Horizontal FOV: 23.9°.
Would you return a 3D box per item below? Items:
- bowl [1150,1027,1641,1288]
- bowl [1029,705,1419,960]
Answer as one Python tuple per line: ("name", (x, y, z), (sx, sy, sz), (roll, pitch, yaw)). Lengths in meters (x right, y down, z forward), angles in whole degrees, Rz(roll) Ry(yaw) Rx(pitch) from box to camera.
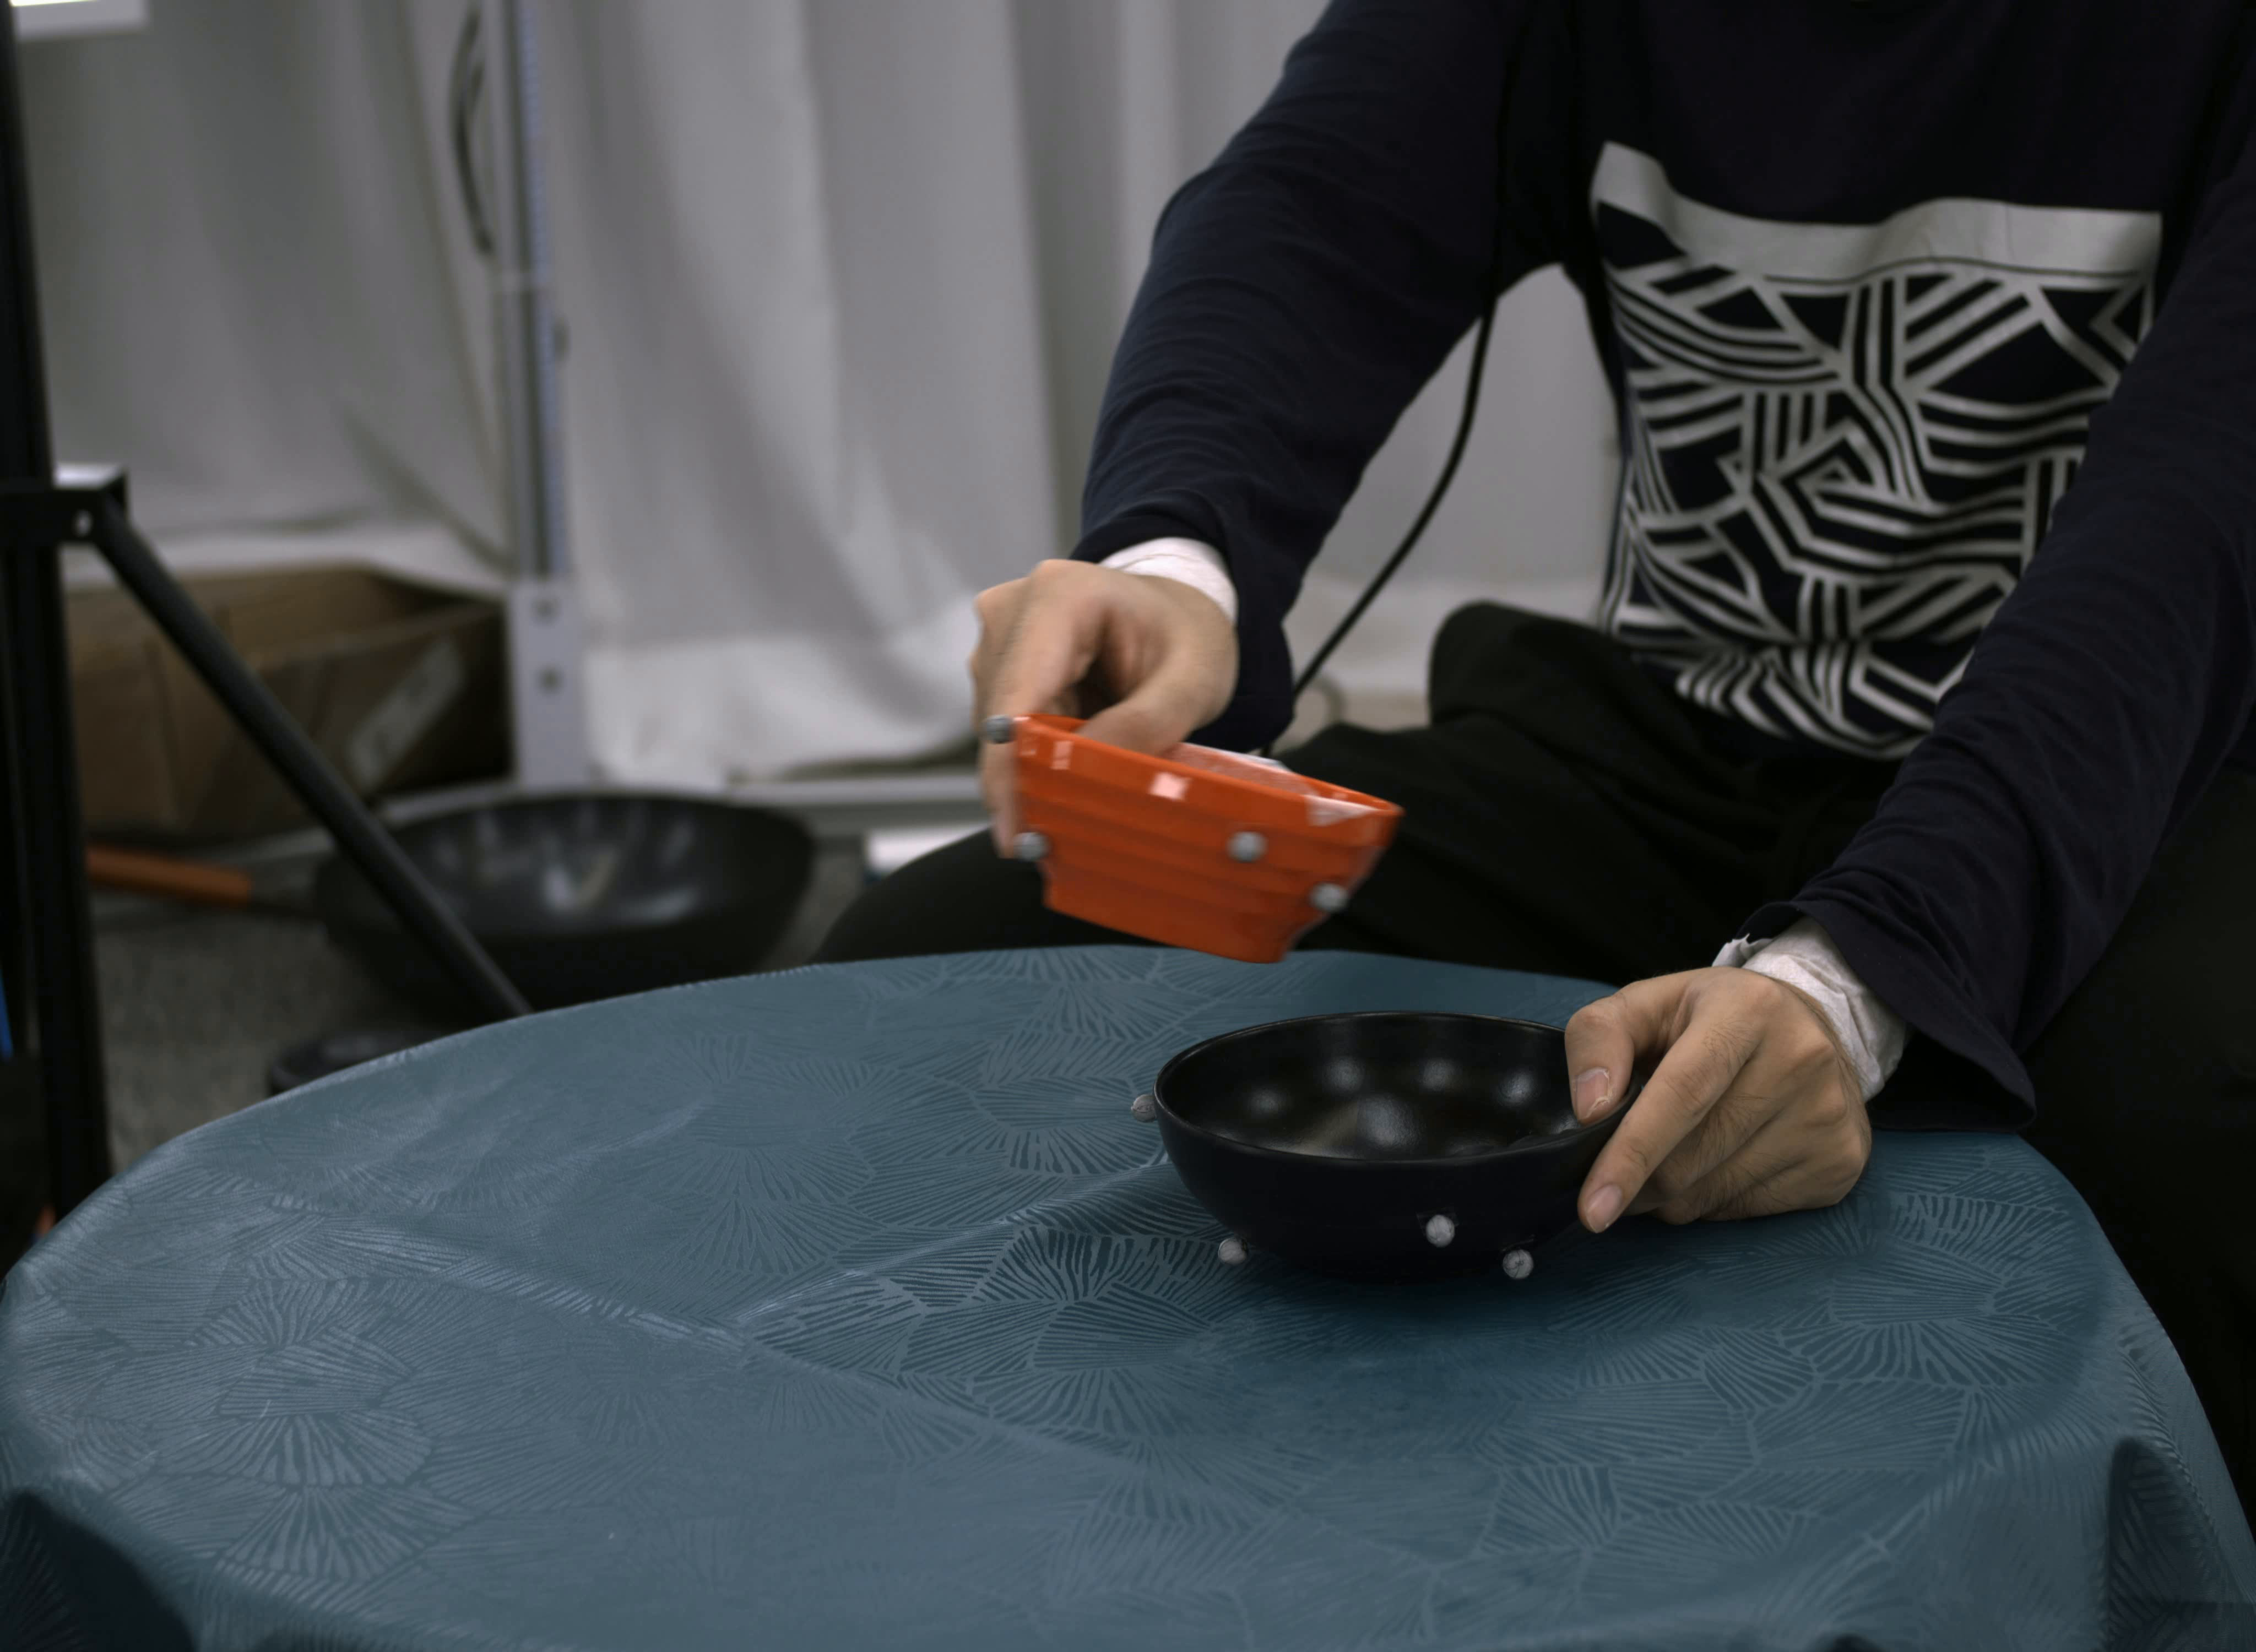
("bowl", (0.075, 0.098, 1.503), (0.139, 0.050, 0.140), (0, 12, -1))
("bowl", (0.022, 0.004, 1.485), (0.118, 0.051, 0.119), (13, 5, -3))
